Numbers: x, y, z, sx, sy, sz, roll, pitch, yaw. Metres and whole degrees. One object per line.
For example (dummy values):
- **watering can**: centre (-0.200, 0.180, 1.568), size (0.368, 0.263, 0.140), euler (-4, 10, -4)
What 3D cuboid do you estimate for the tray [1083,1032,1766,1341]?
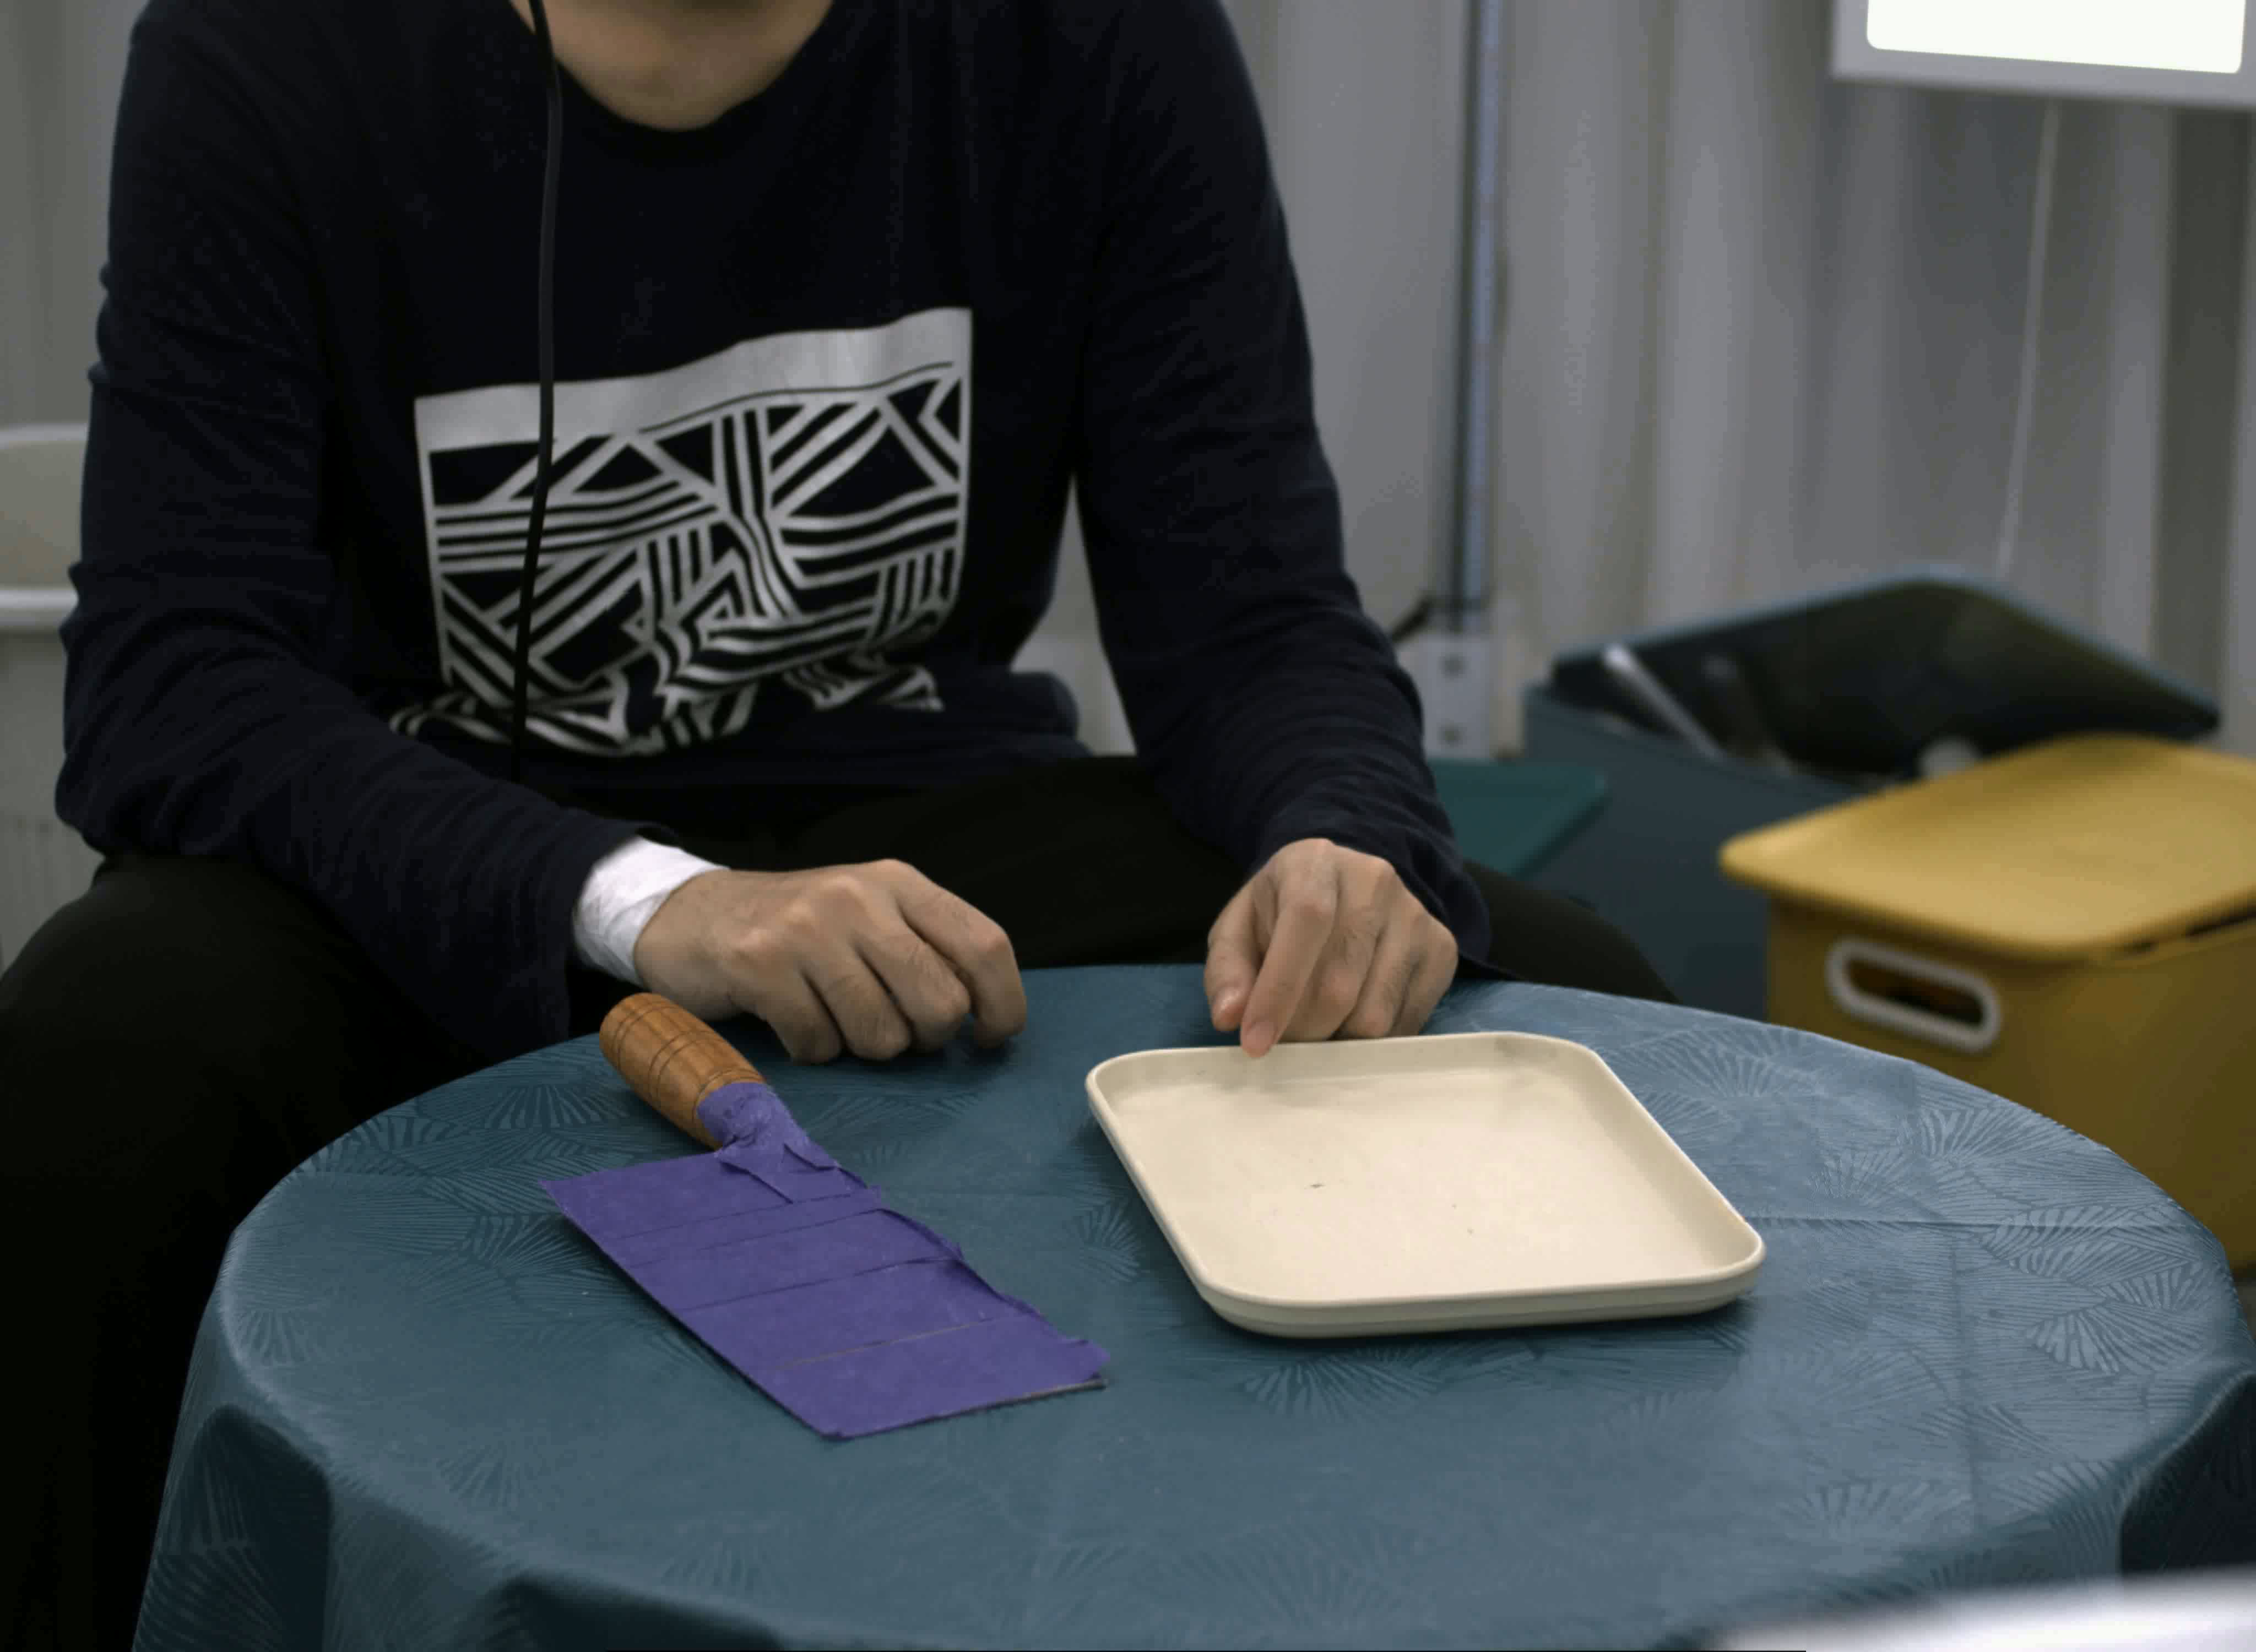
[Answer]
- **tray**: centre (0.086, 0.108, 1.609), size (0.171, 0.017, 0.237), euler (-3, 16, -10)

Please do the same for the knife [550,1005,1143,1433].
- **knife**: centre (-0.114, 0.113, 1.568), size (0.104, 0.032, 0.311), euler (-8, 18, -28)
